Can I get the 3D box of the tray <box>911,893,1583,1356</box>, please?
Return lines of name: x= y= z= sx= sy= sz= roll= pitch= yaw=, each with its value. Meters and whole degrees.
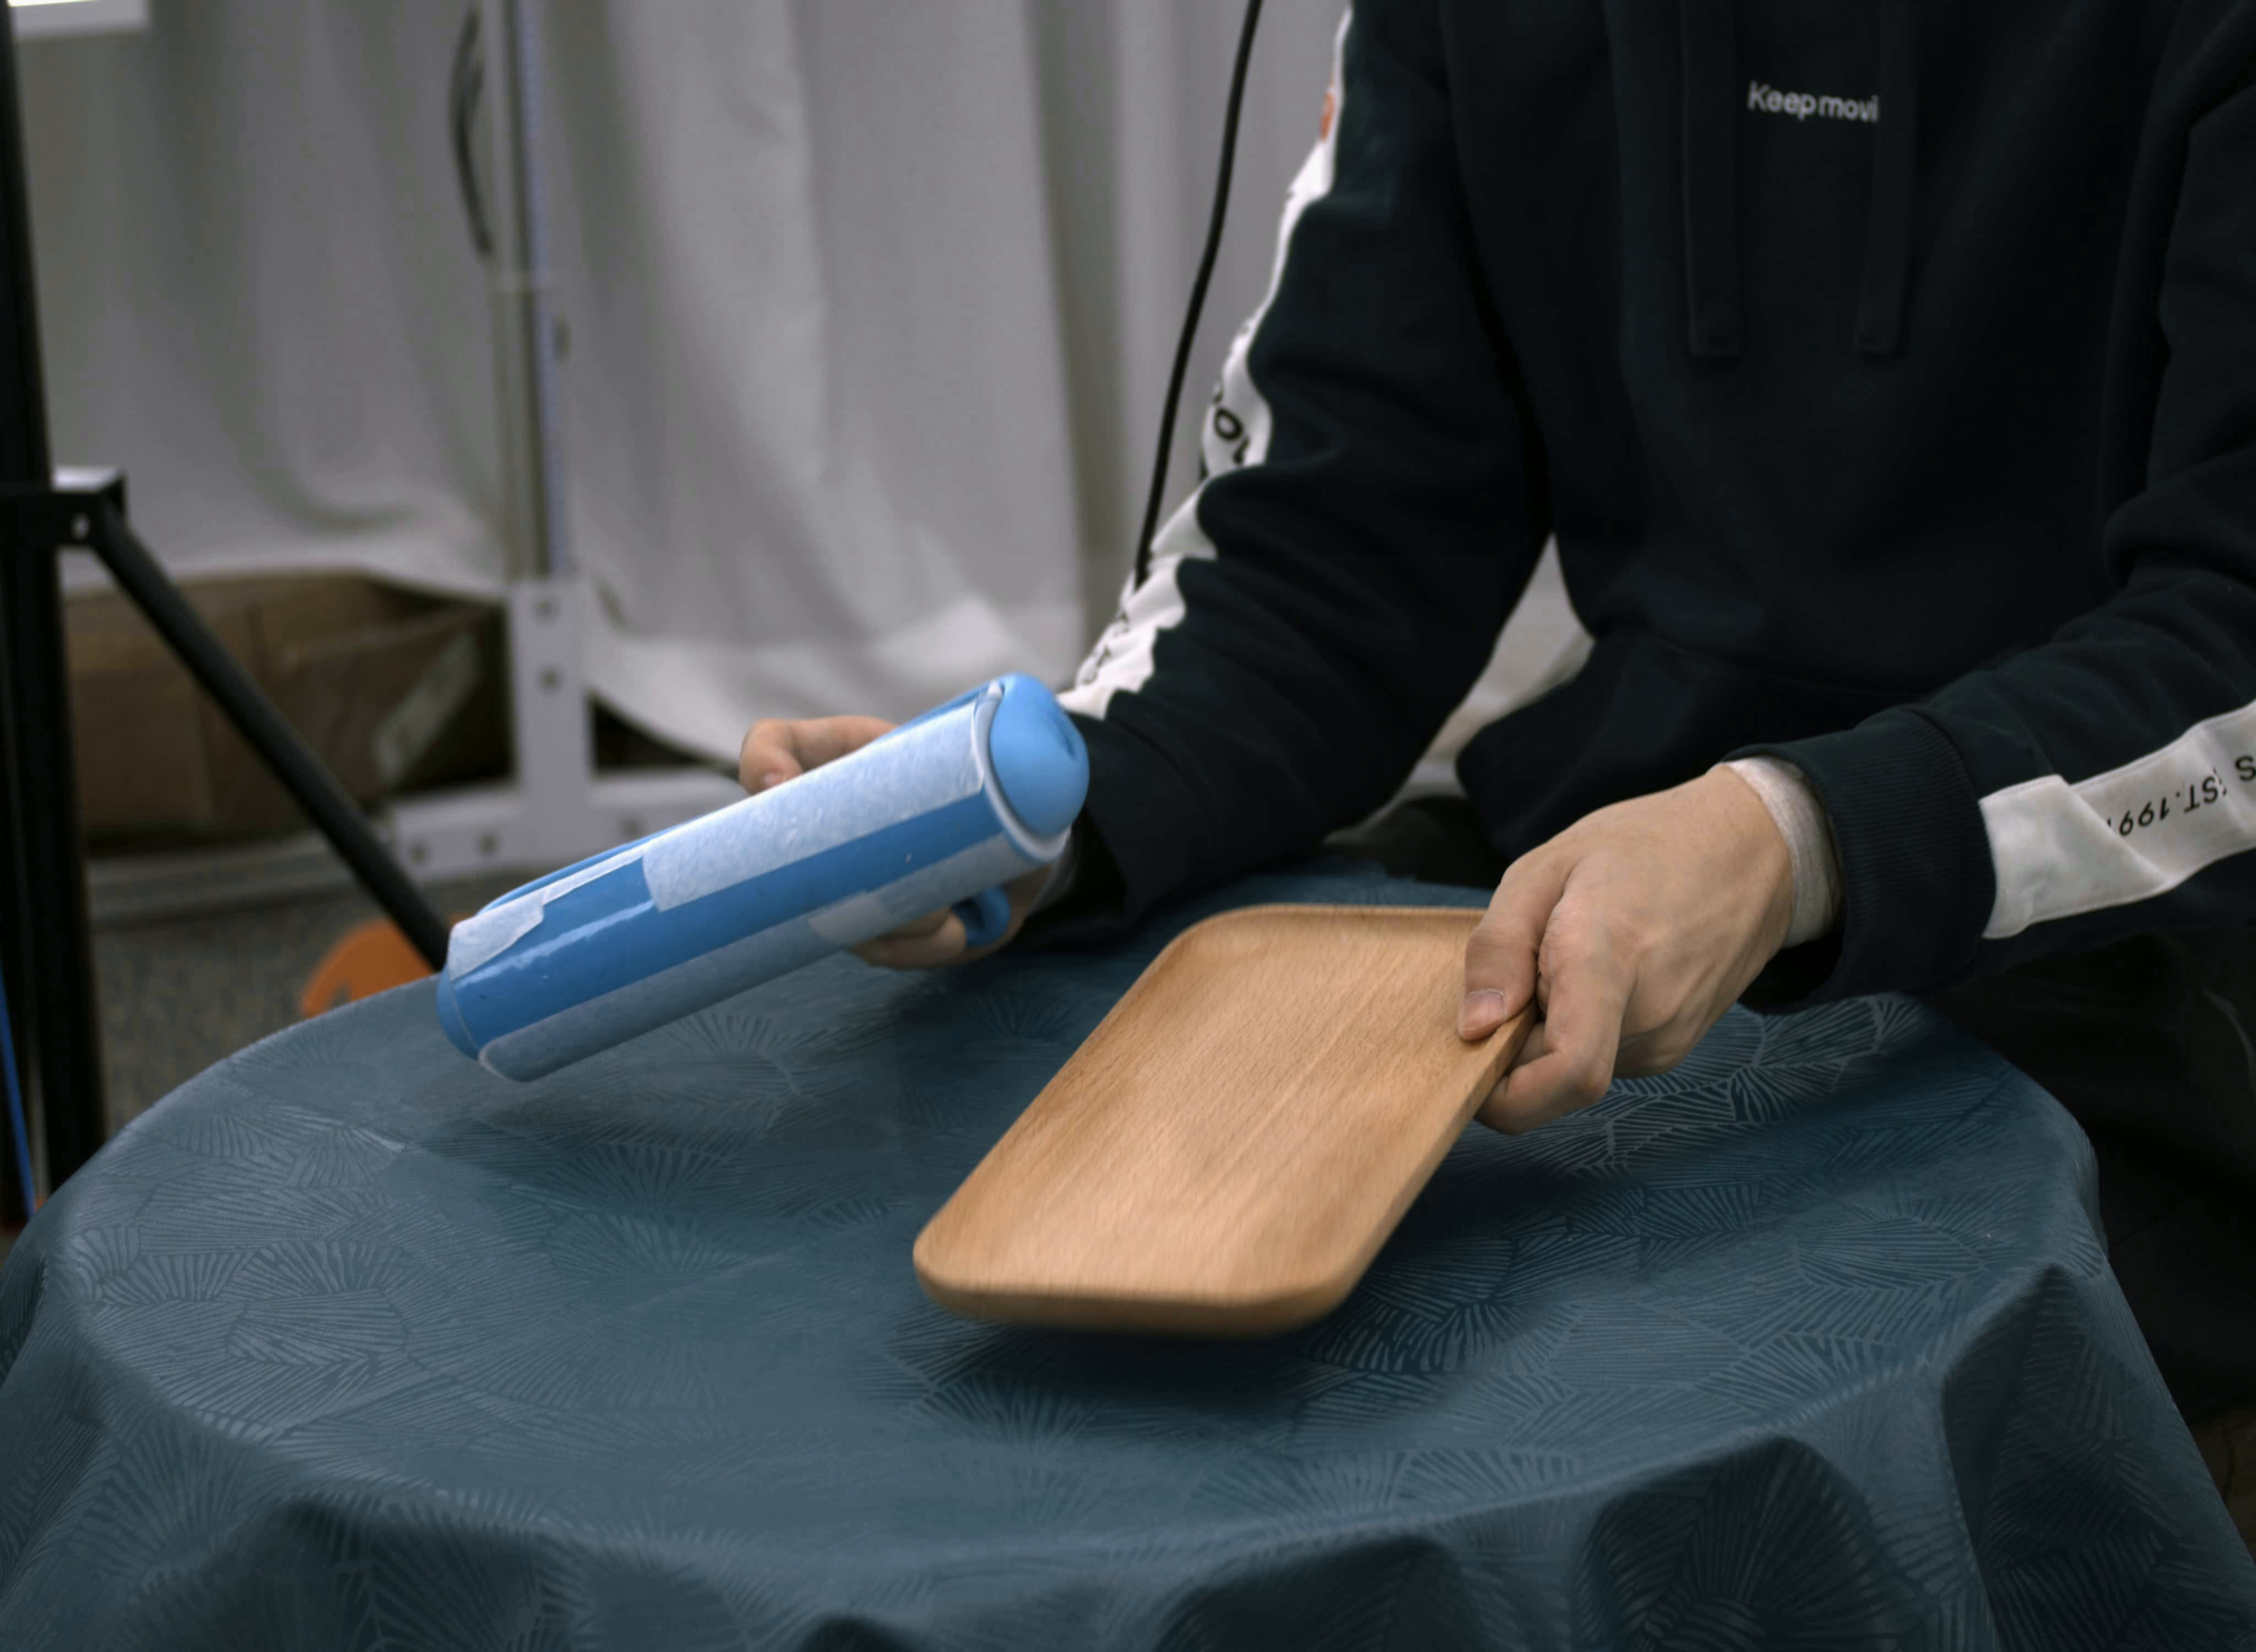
tray: x=0.038 y=0.080 z=1.494 sx=0.132 sy=0.023 sz=0.248 roll=4 pitch=26 yaw=23

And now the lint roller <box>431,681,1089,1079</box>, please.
lint roller: x=-0.093 y=0.018 z=1.659 sx=0.231 sy=0.068 sz=0.177 roll=-23 pitch=-7 yaw=21
